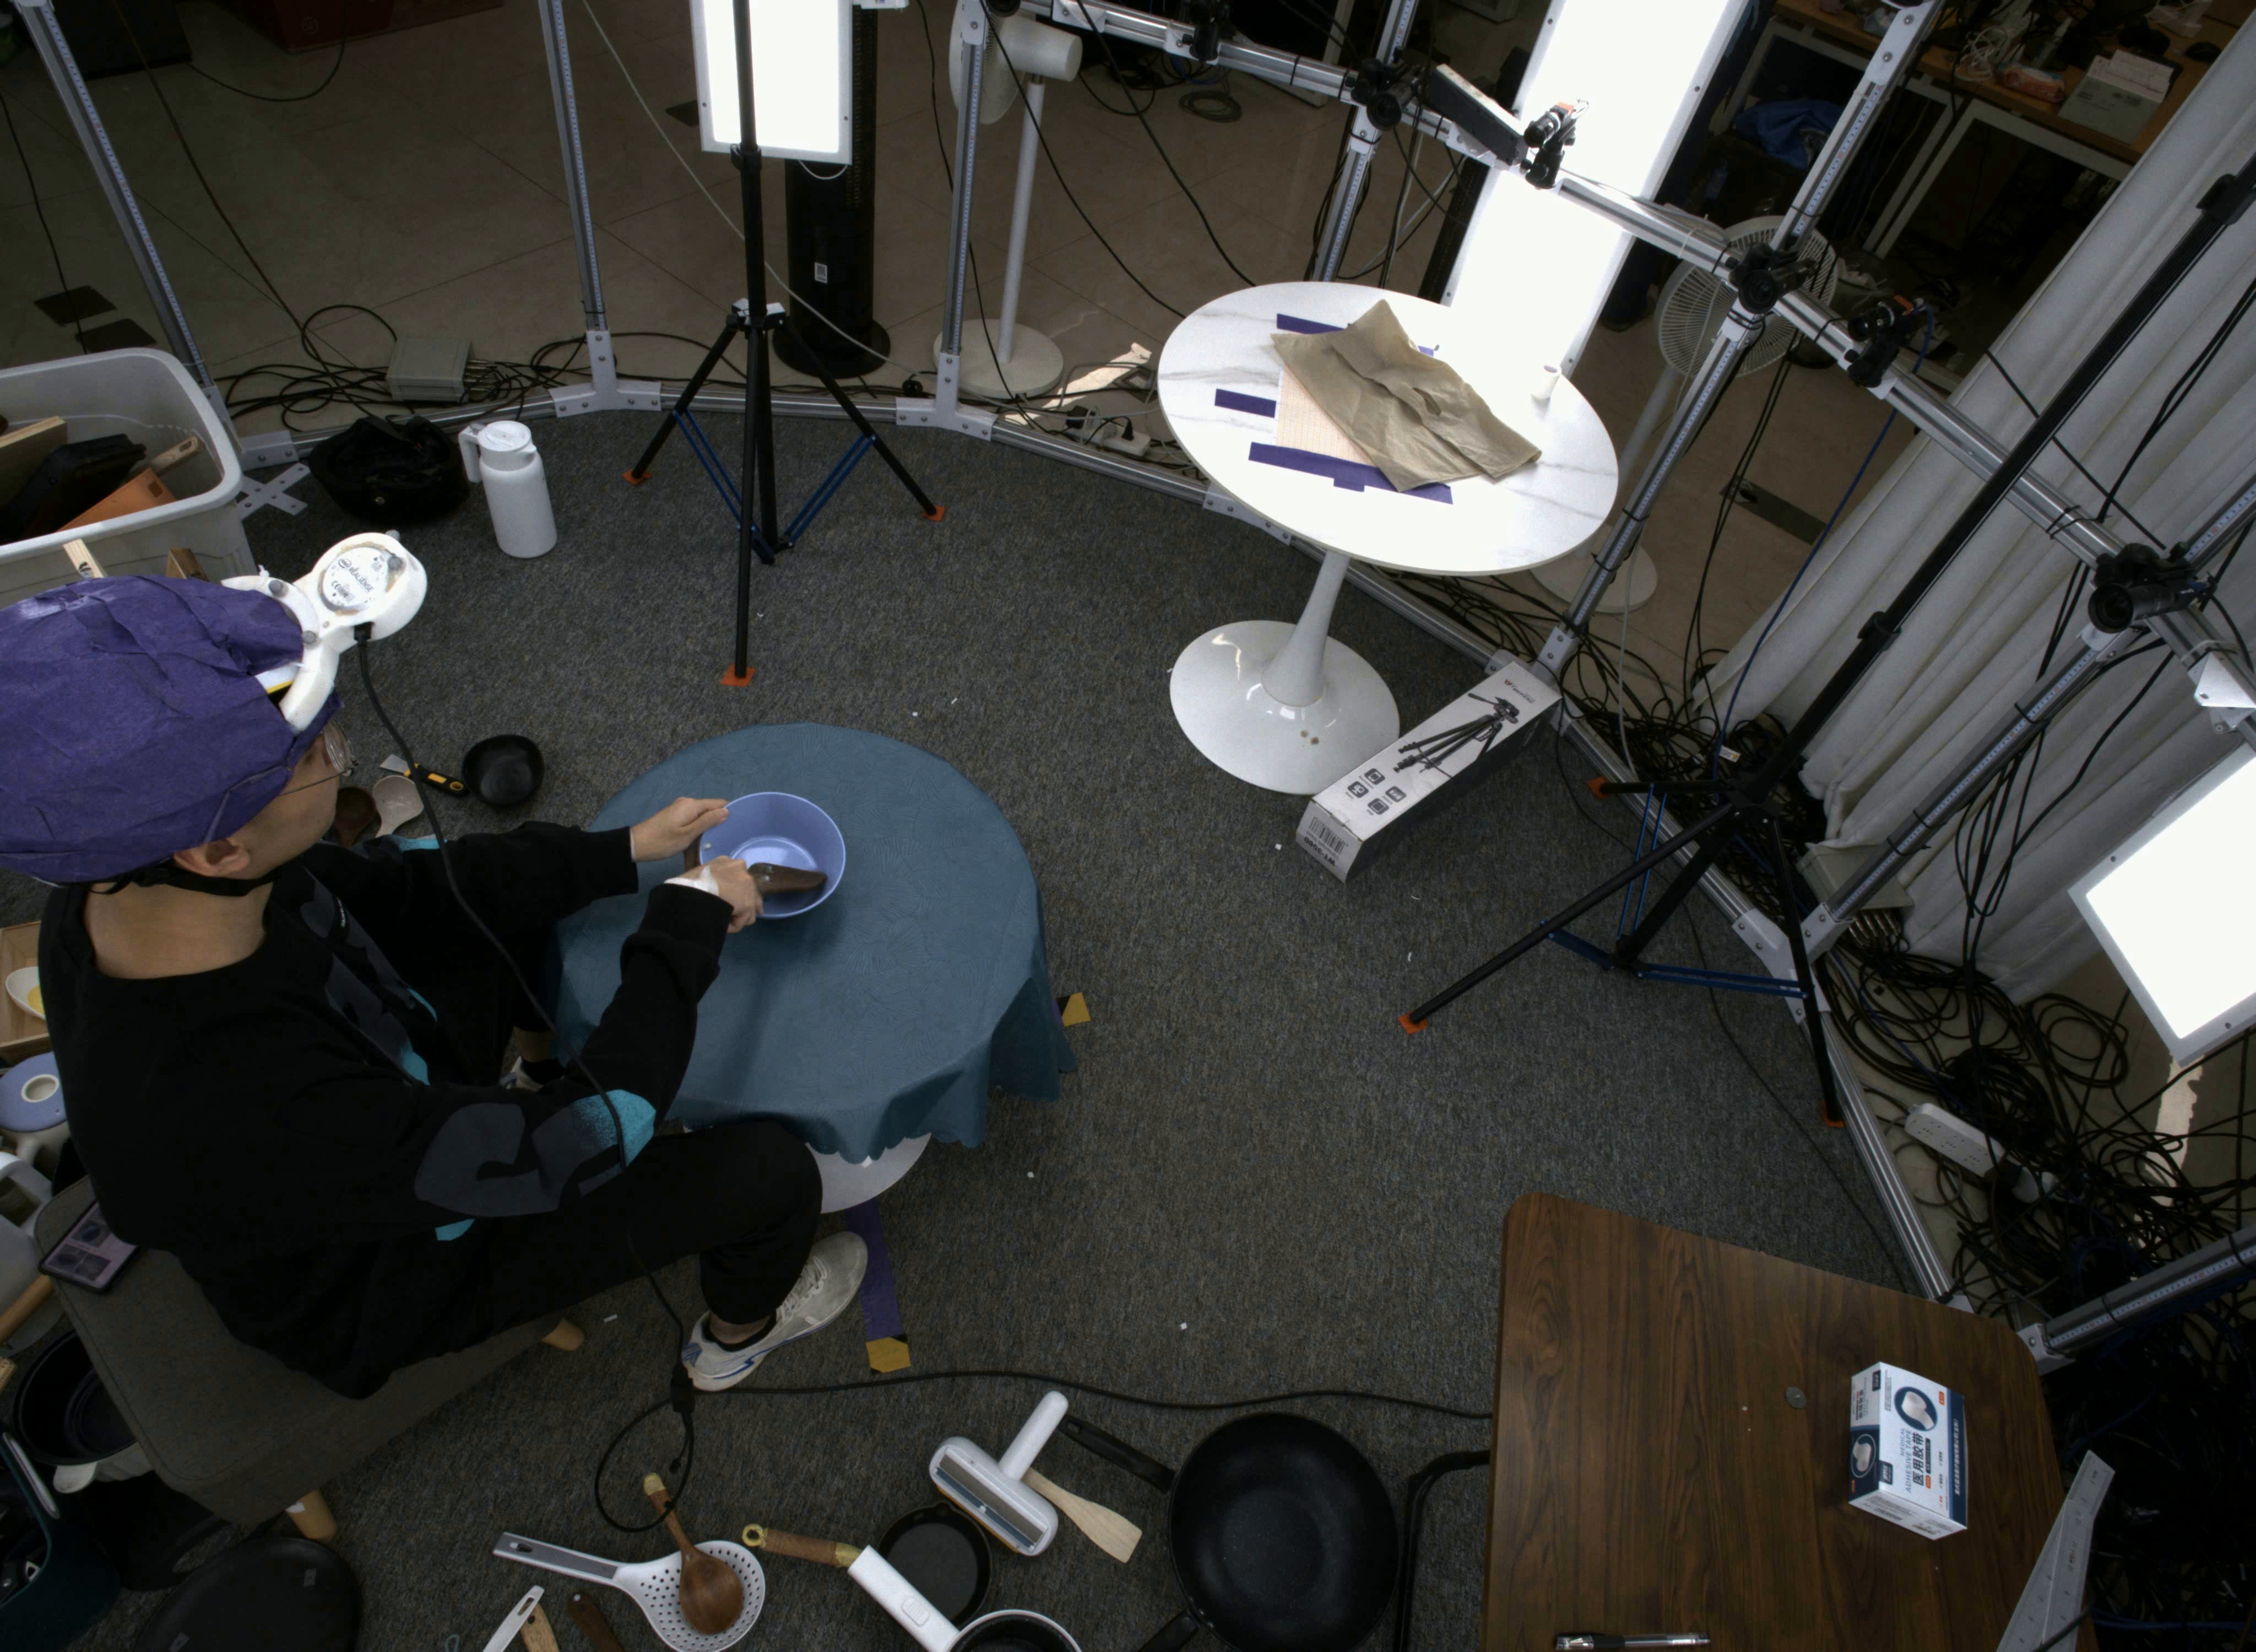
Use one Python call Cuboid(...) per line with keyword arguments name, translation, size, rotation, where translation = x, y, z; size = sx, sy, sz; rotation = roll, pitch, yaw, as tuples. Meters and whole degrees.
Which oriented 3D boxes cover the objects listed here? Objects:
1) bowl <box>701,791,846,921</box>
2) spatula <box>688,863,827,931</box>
Cuboid(name="bowl", translation=(-0.445, 0.048, 1.625), size=(0.177, 0.071, 0.174), rotation=(10, 62, -16))
Cuboid(name="spatula", translation=(-0.427, 0.076, 1.468), size=(0.095, 0.383, 0.016), rotation=(12, 95, -1))
